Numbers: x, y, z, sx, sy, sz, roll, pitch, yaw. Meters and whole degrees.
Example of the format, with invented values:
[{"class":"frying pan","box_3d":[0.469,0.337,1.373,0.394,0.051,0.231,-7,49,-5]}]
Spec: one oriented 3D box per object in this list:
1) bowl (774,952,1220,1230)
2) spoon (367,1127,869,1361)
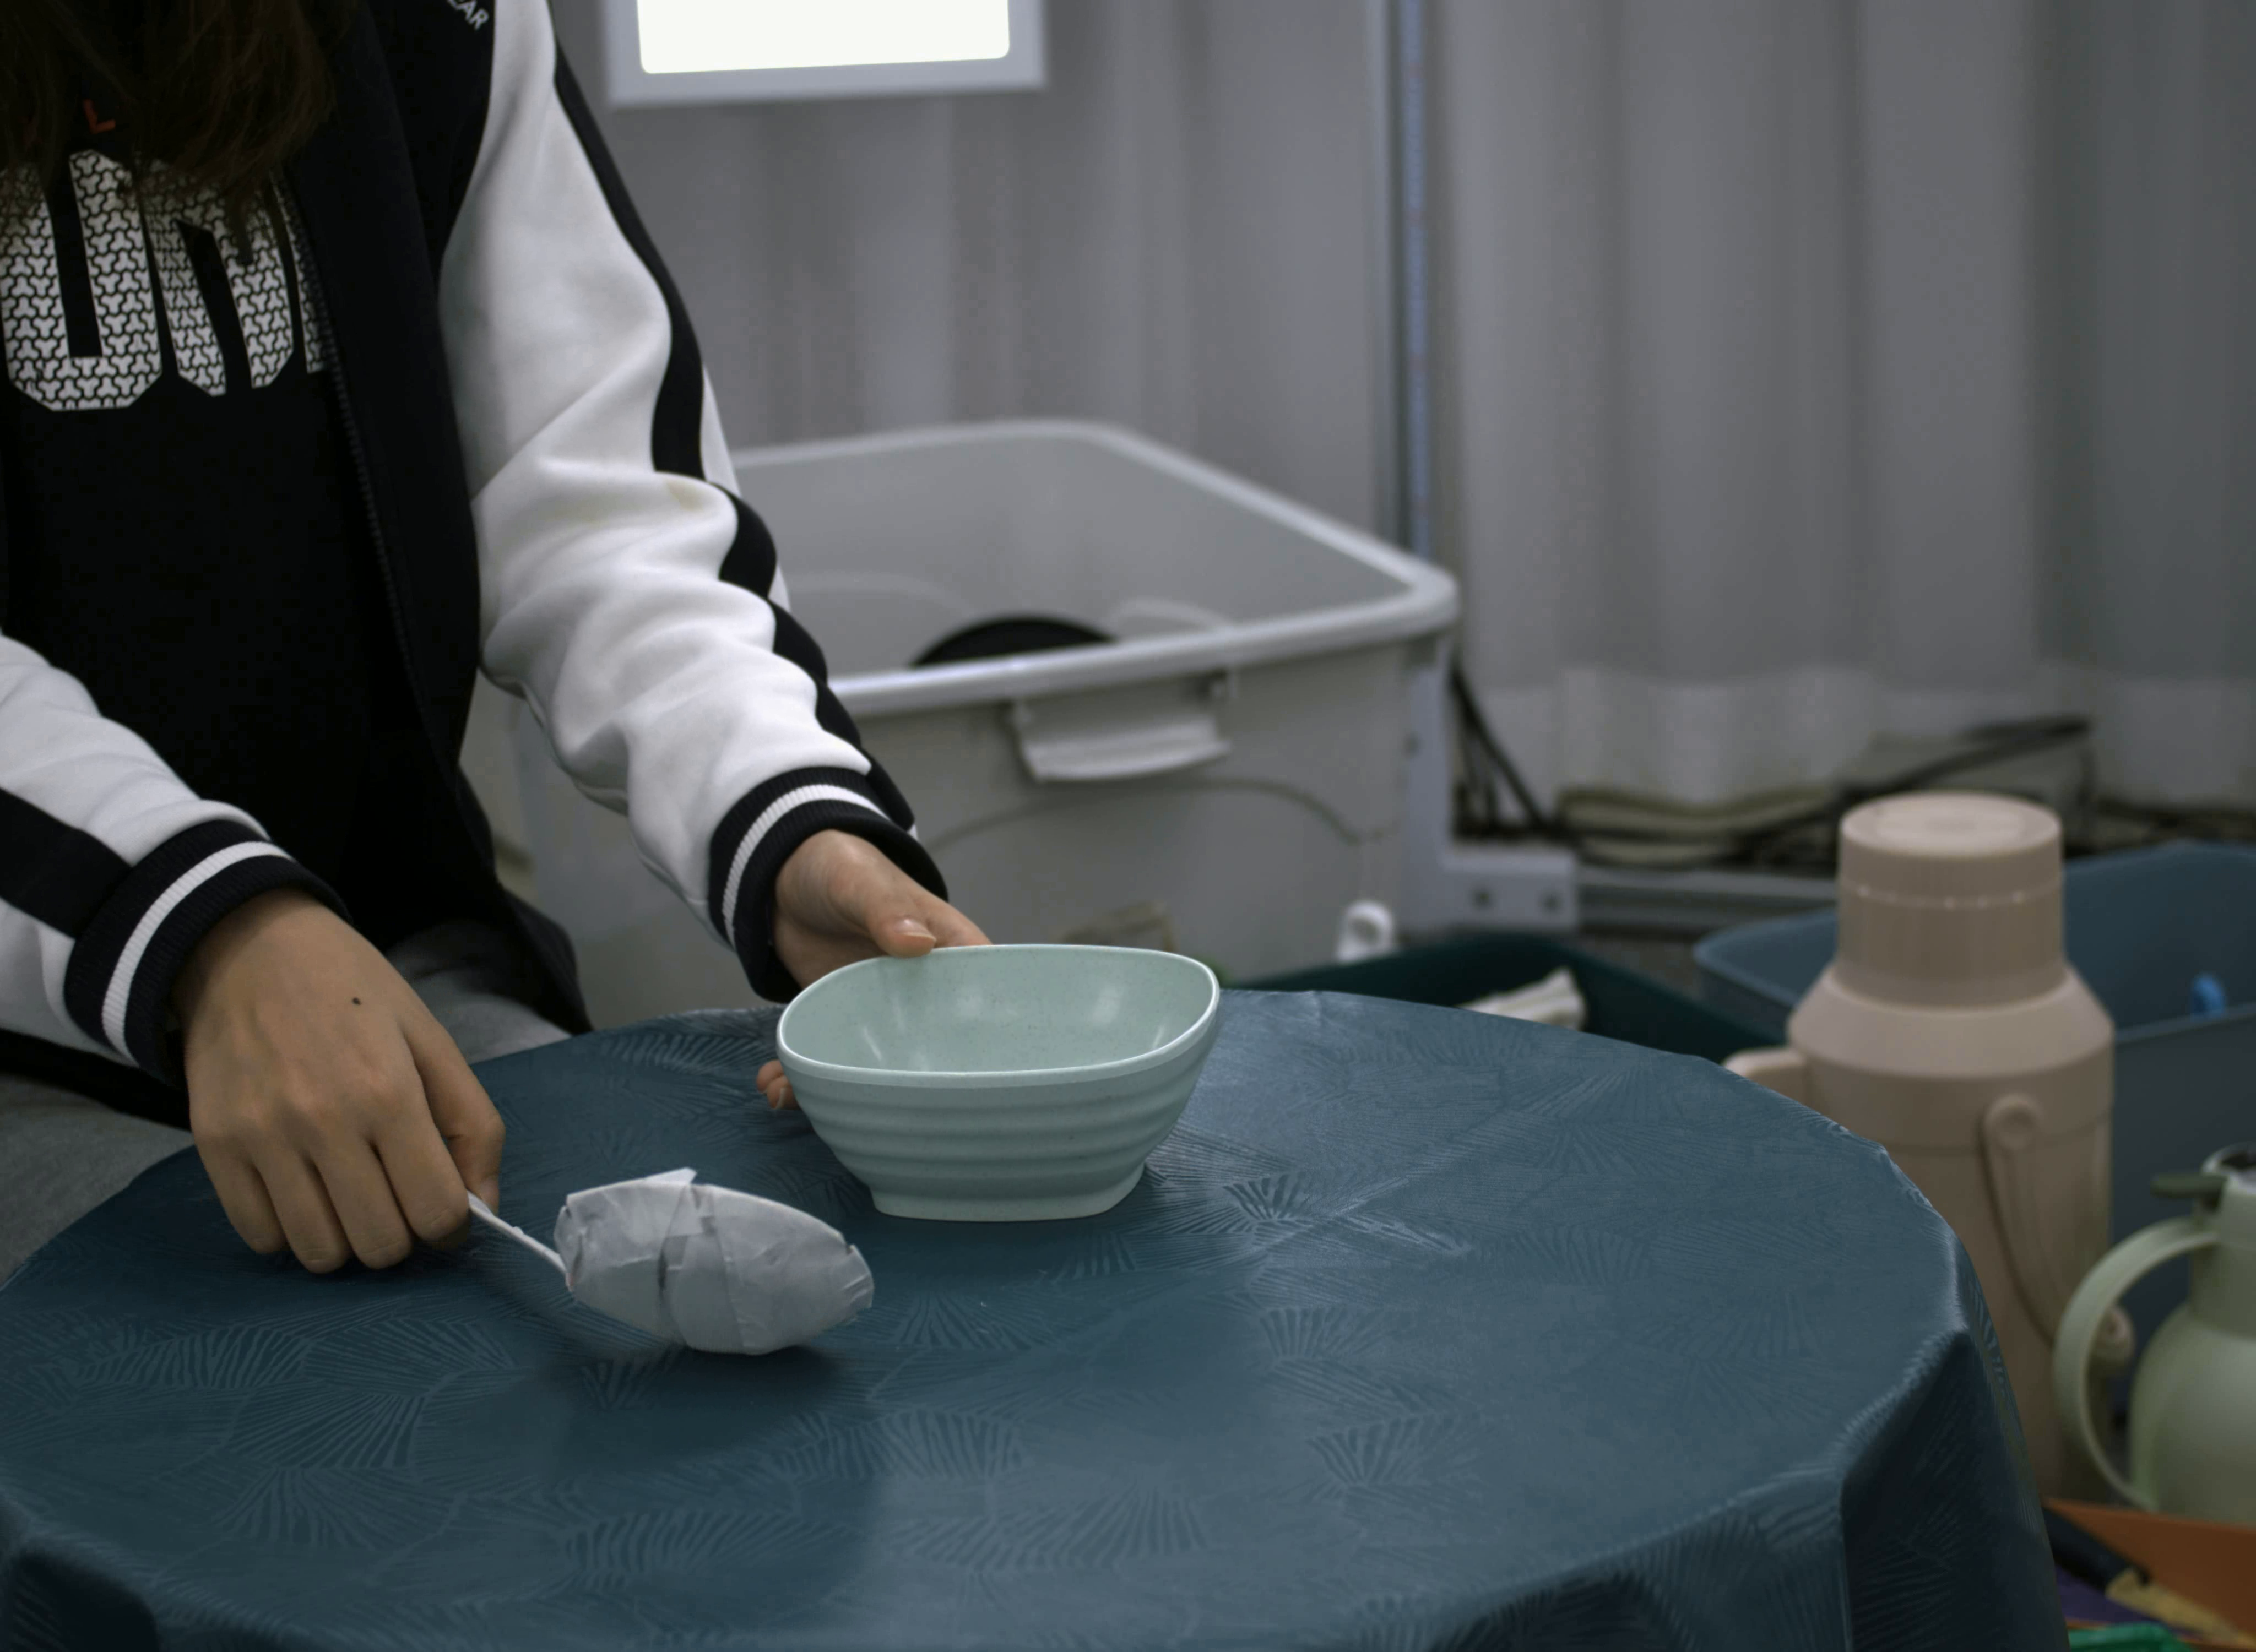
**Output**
[{"class":"bowl","box_3d":[-0.040,0.087,1.726,0.151,0.058,0.152,-3,15,0]},{"class":"spoon","box_3d":[-0.161,0.108,1.653,0.099,0.059,0.279,38,-7,-28]}]
